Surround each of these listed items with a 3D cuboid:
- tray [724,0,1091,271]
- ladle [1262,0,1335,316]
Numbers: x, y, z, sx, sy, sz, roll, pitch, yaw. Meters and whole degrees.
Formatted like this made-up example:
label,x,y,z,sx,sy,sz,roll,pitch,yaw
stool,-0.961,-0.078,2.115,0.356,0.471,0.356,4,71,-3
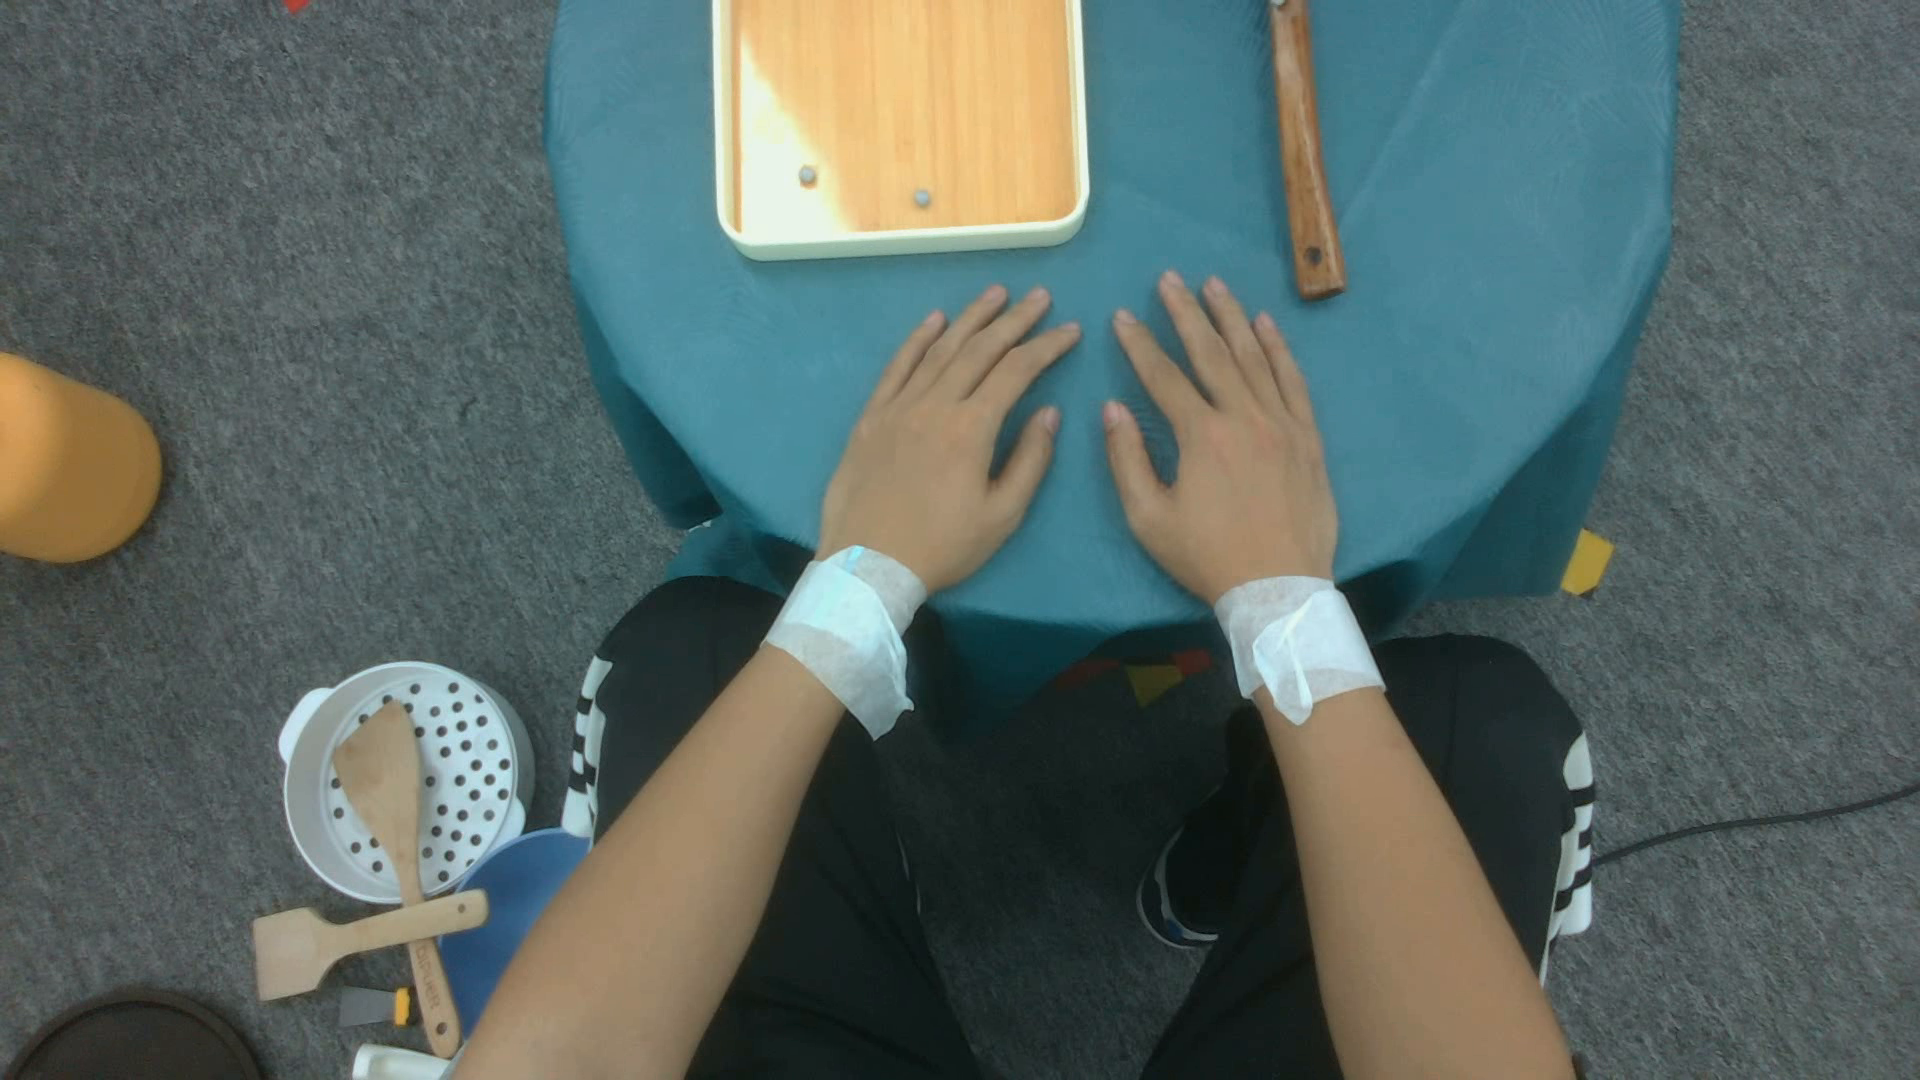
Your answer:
label,x,y,z,sx,sy,sz,roll,pitch,yaw
tray,-0.031,-0.296,0.751,0.191,0.027,0.301,-2,79,2
ladle,0.160,-0.256,0.711,0.081,0.077,0.274,-11,76,41
